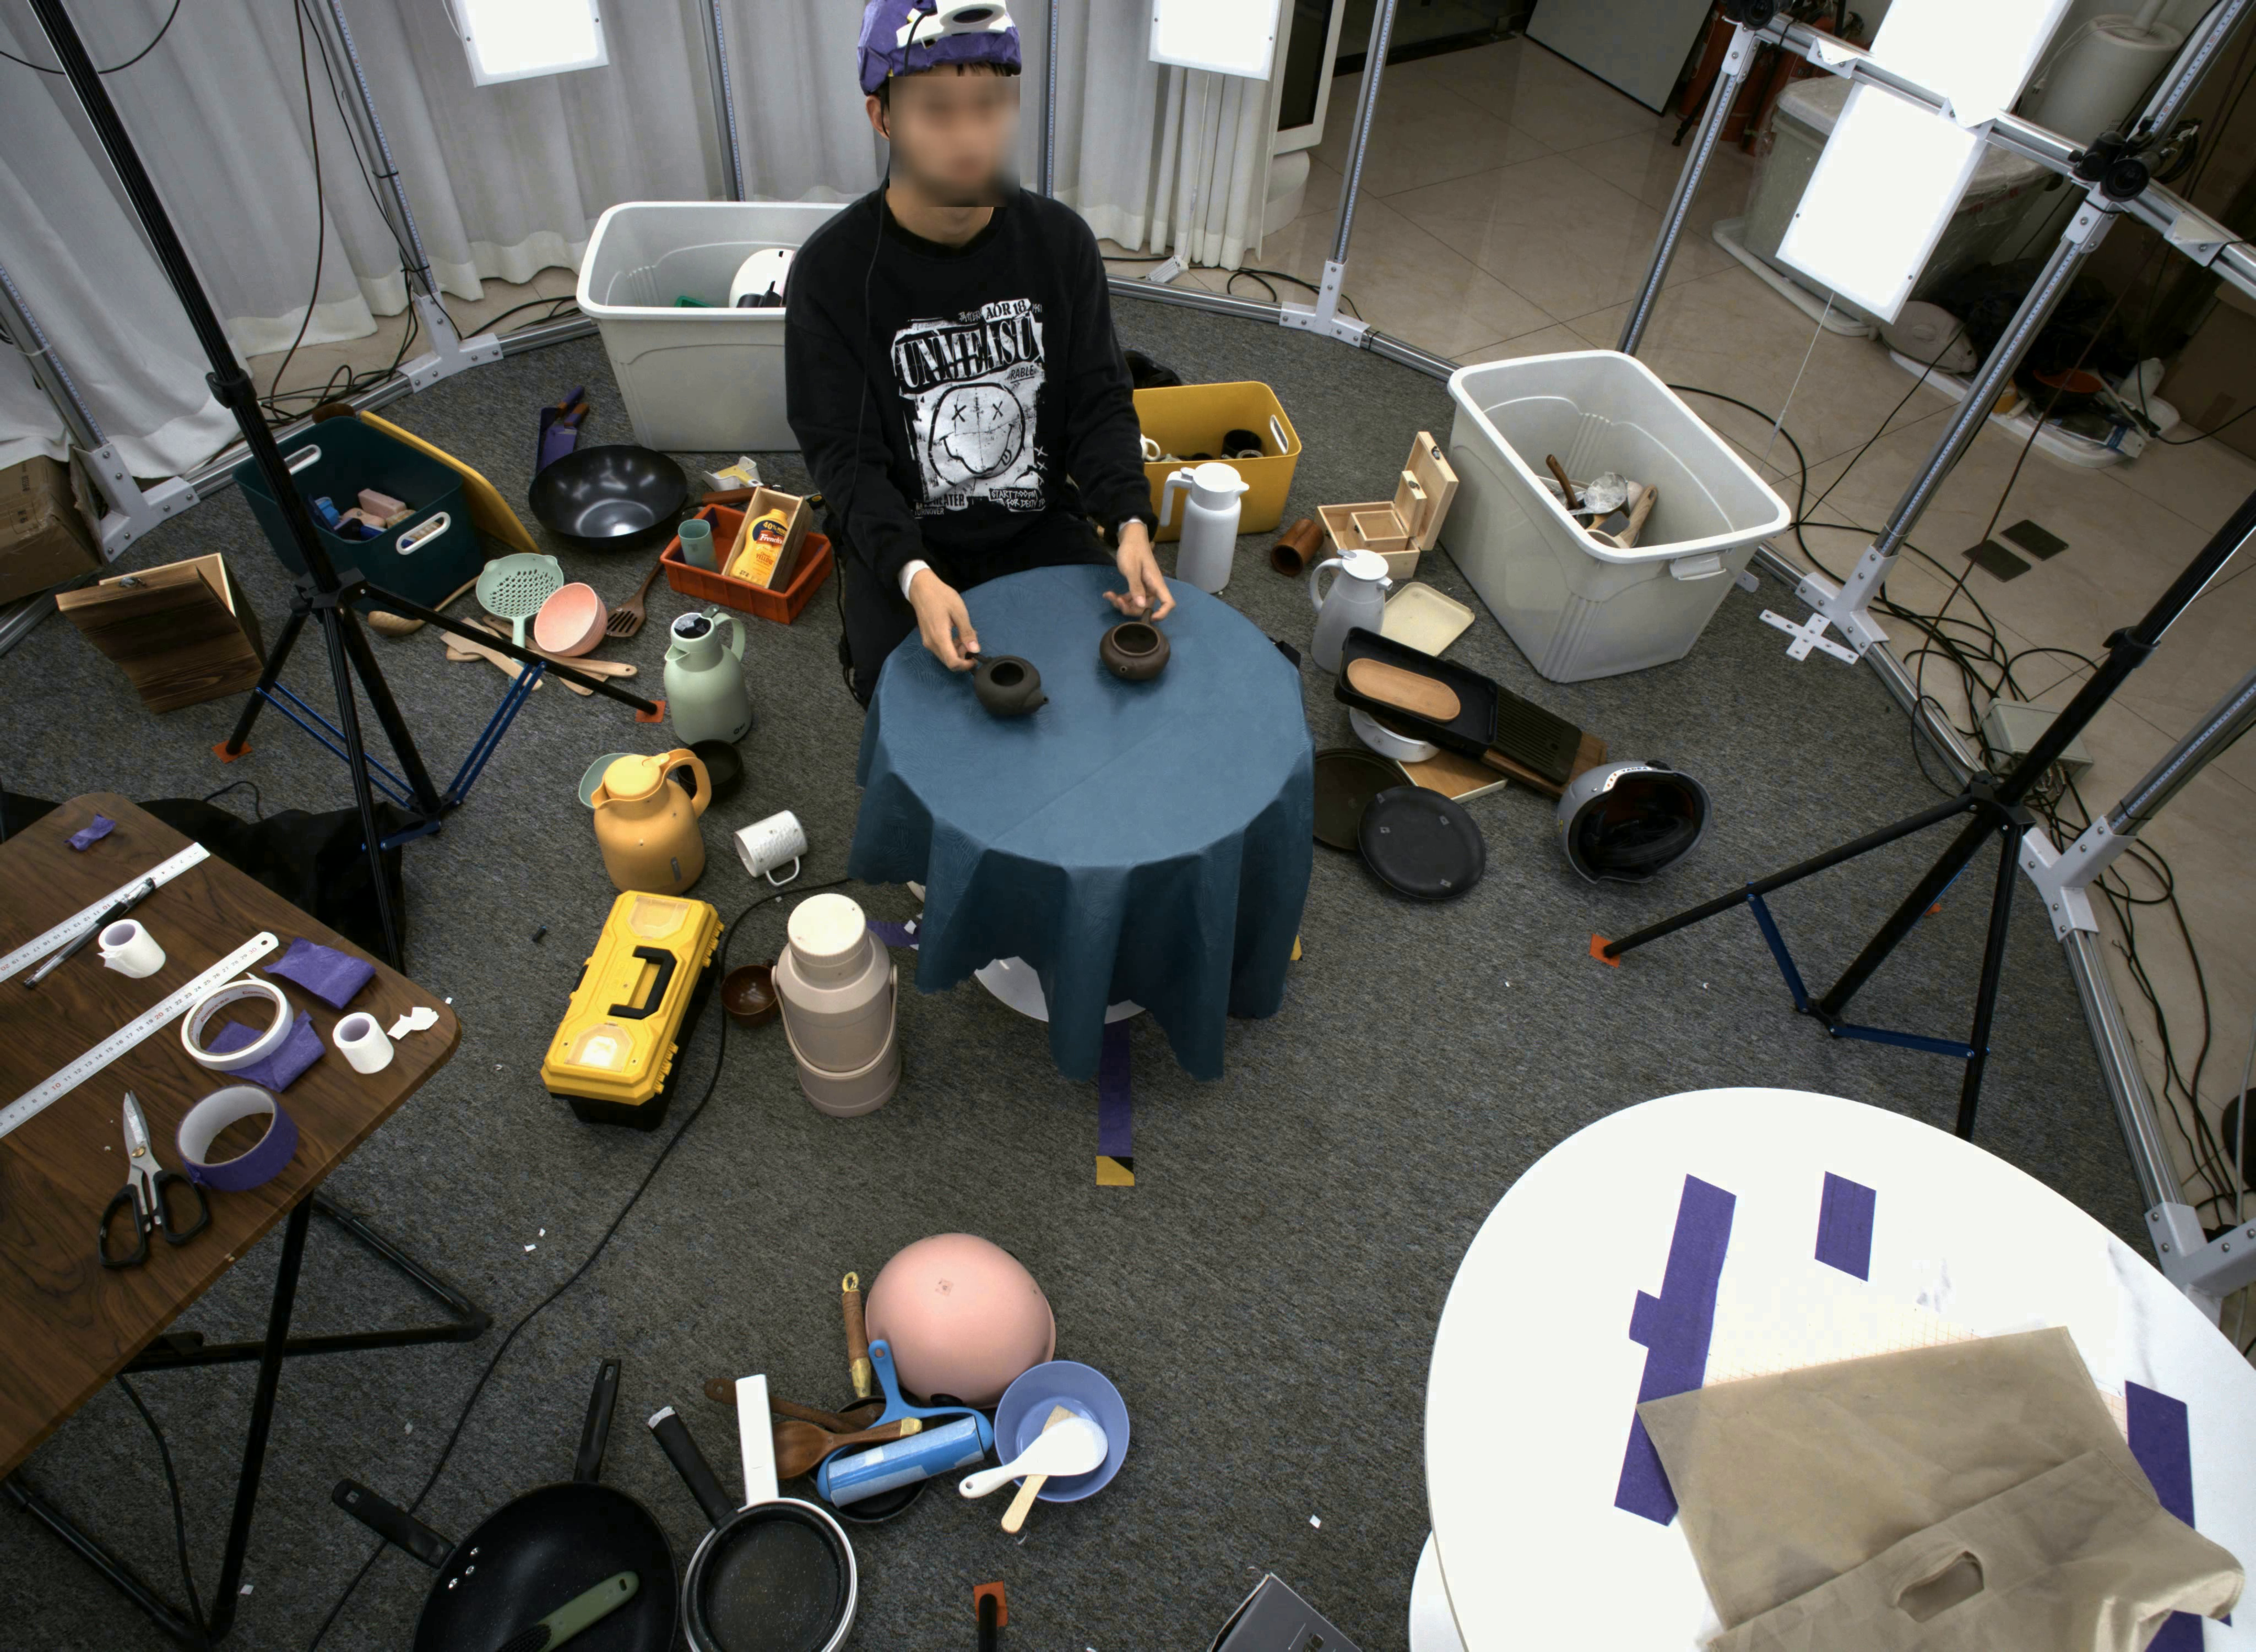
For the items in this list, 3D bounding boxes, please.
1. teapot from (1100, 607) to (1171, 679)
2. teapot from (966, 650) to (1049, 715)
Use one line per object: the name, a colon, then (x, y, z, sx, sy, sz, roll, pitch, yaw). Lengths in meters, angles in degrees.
teapot: (0.012, -0.260, 1.860, 0.102, 0.052, 0.157, 11, 50, 3)
teapot: (-0.169, -0.197, 1.789, 0.156, 0.063, 0.093, 35, 54, 23)
